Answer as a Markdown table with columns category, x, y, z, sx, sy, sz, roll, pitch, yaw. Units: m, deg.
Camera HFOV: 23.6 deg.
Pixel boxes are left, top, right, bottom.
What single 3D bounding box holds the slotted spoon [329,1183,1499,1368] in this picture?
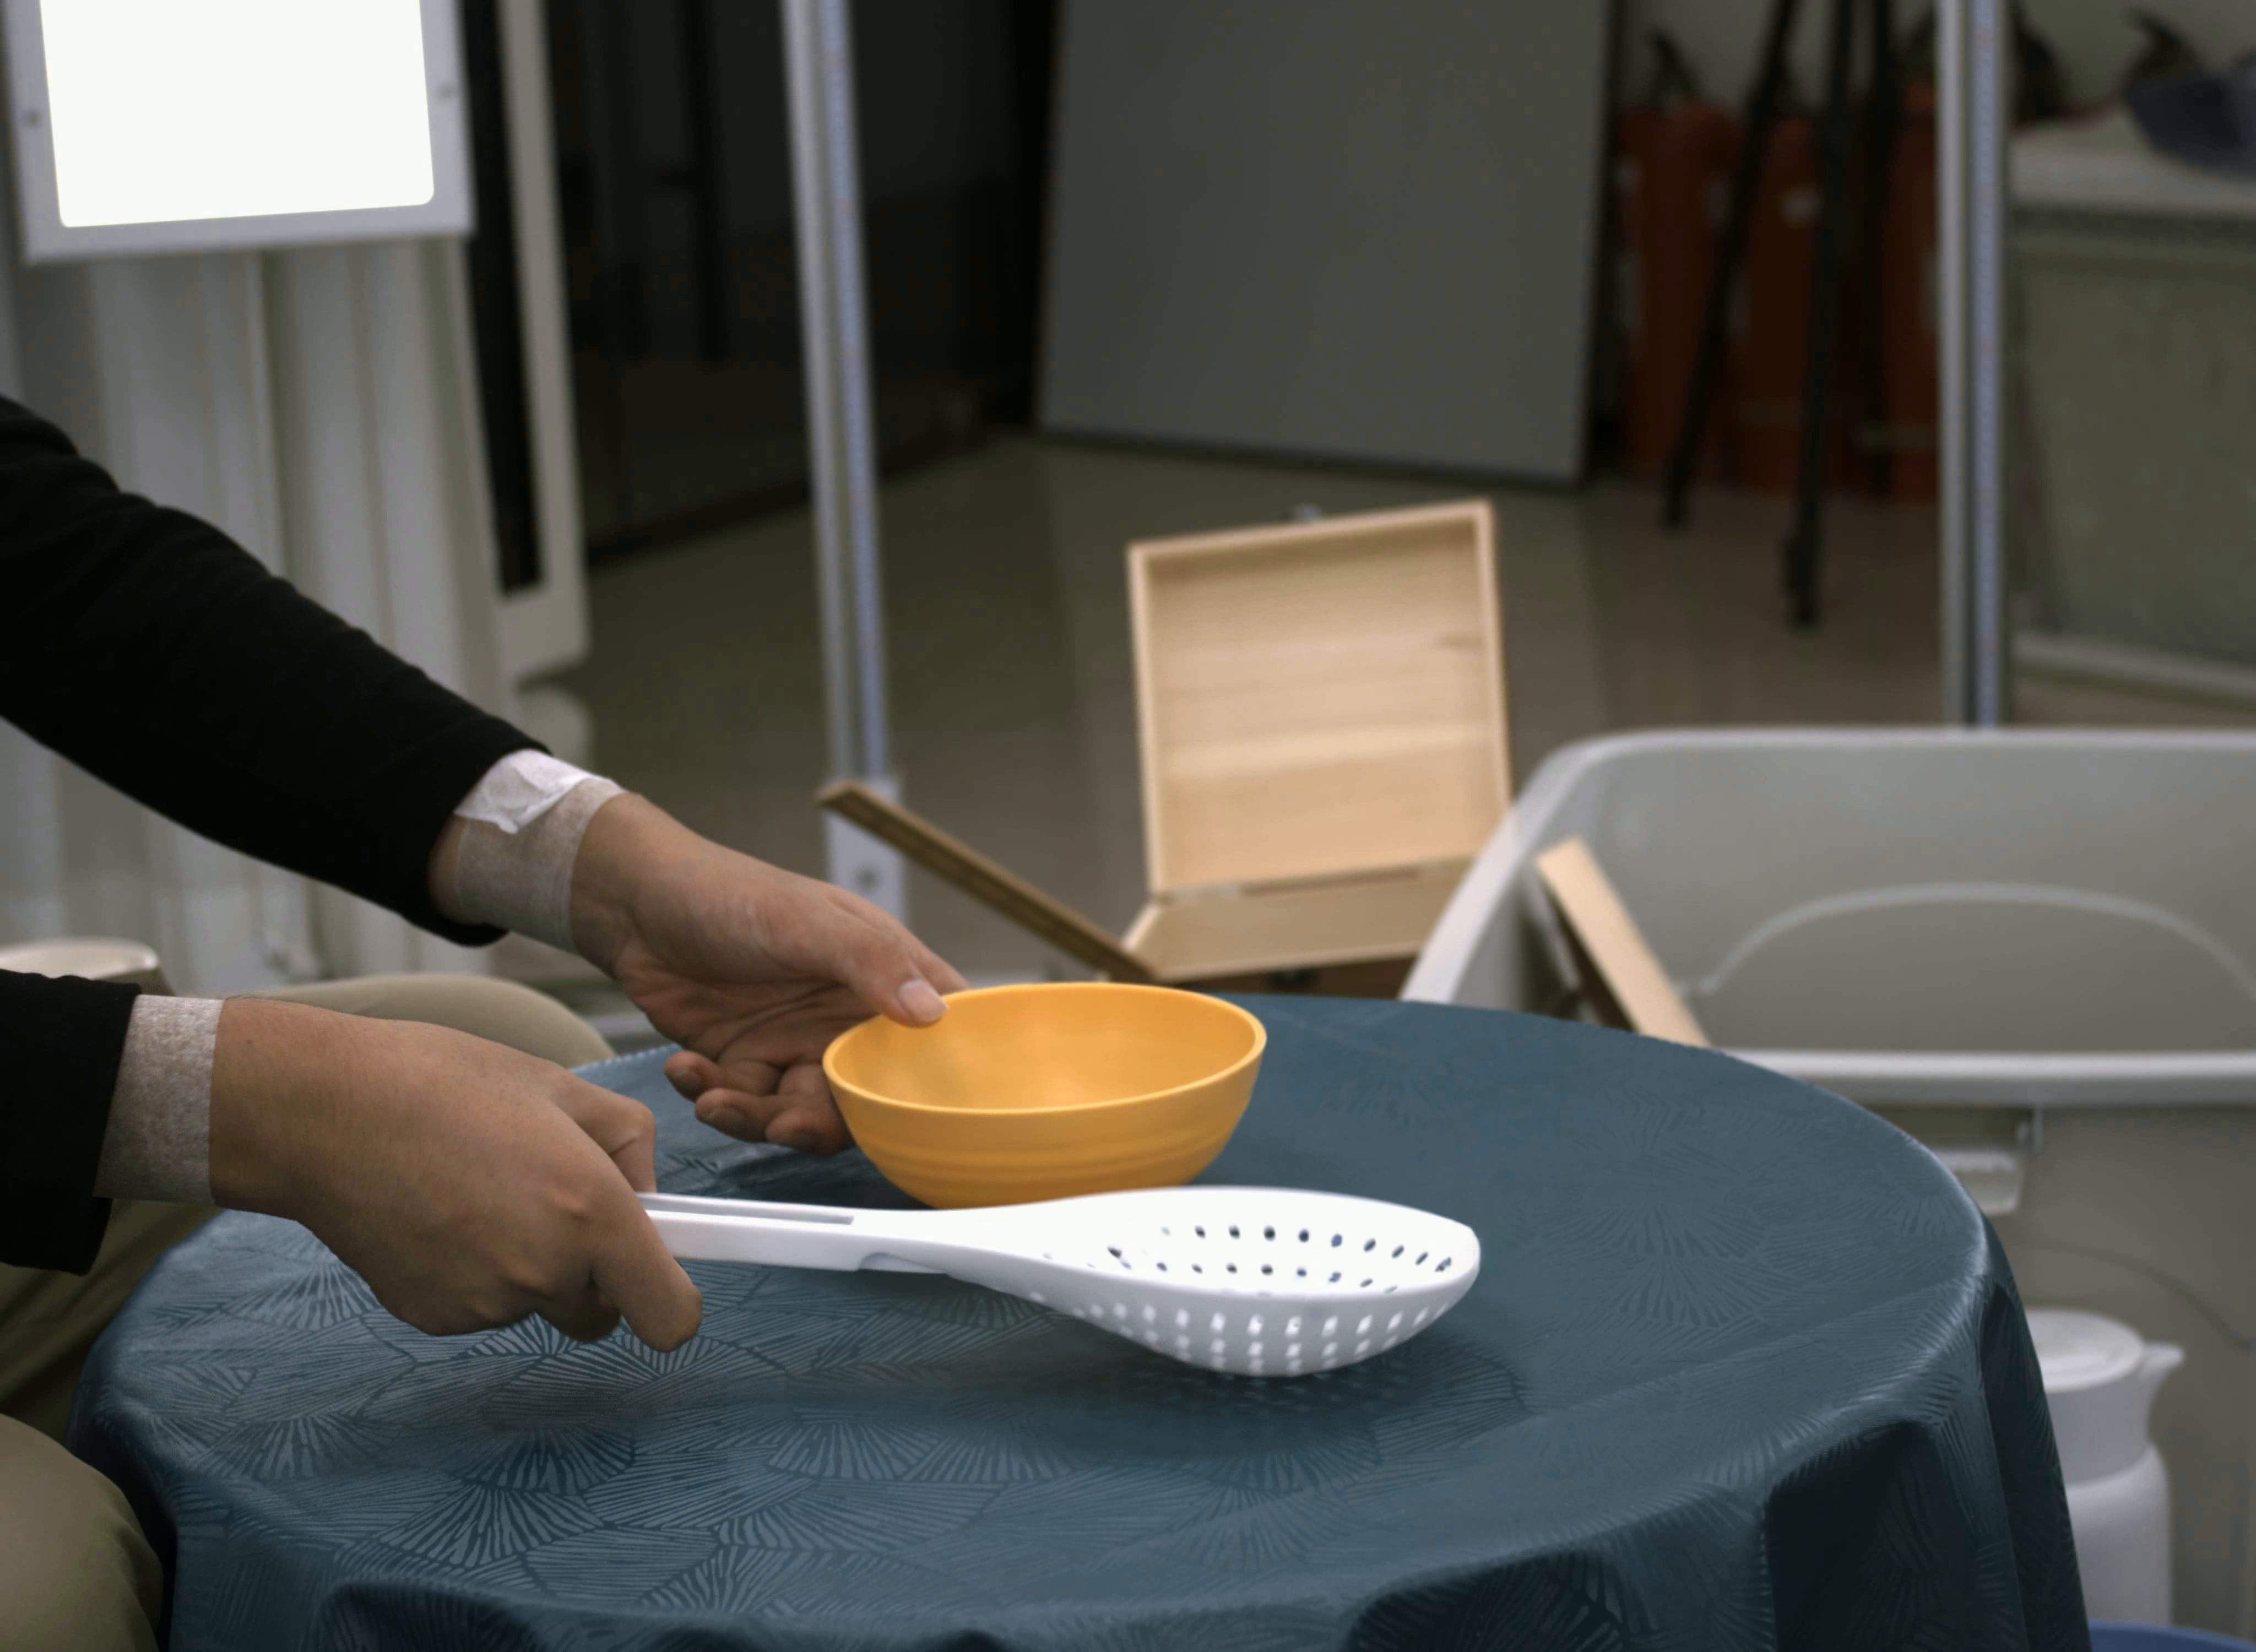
| category | x | y | z | sx | sy | sz | roll | pitch | yaw |
| --- | --- | --- | --- | --- | --- | --- | --- | --- | --- |
| slotted spoon | -0.064 | 0.122 | 1.599 | 0.346 | 0.046 | 0.135 | 7 | 4 | 4 |

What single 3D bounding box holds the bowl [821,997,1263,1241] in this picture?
| category | x | y | z | sx | sy | sz | roll | pitch | yaw |
| --- | --- | --- | --- | --- | --- | --- | --- | --- | --- |
| bowl | -0.027 | 0.101 | 1.744 | 0.143 | 0.061 | 0.145 | -3 | 12 | 0 |
